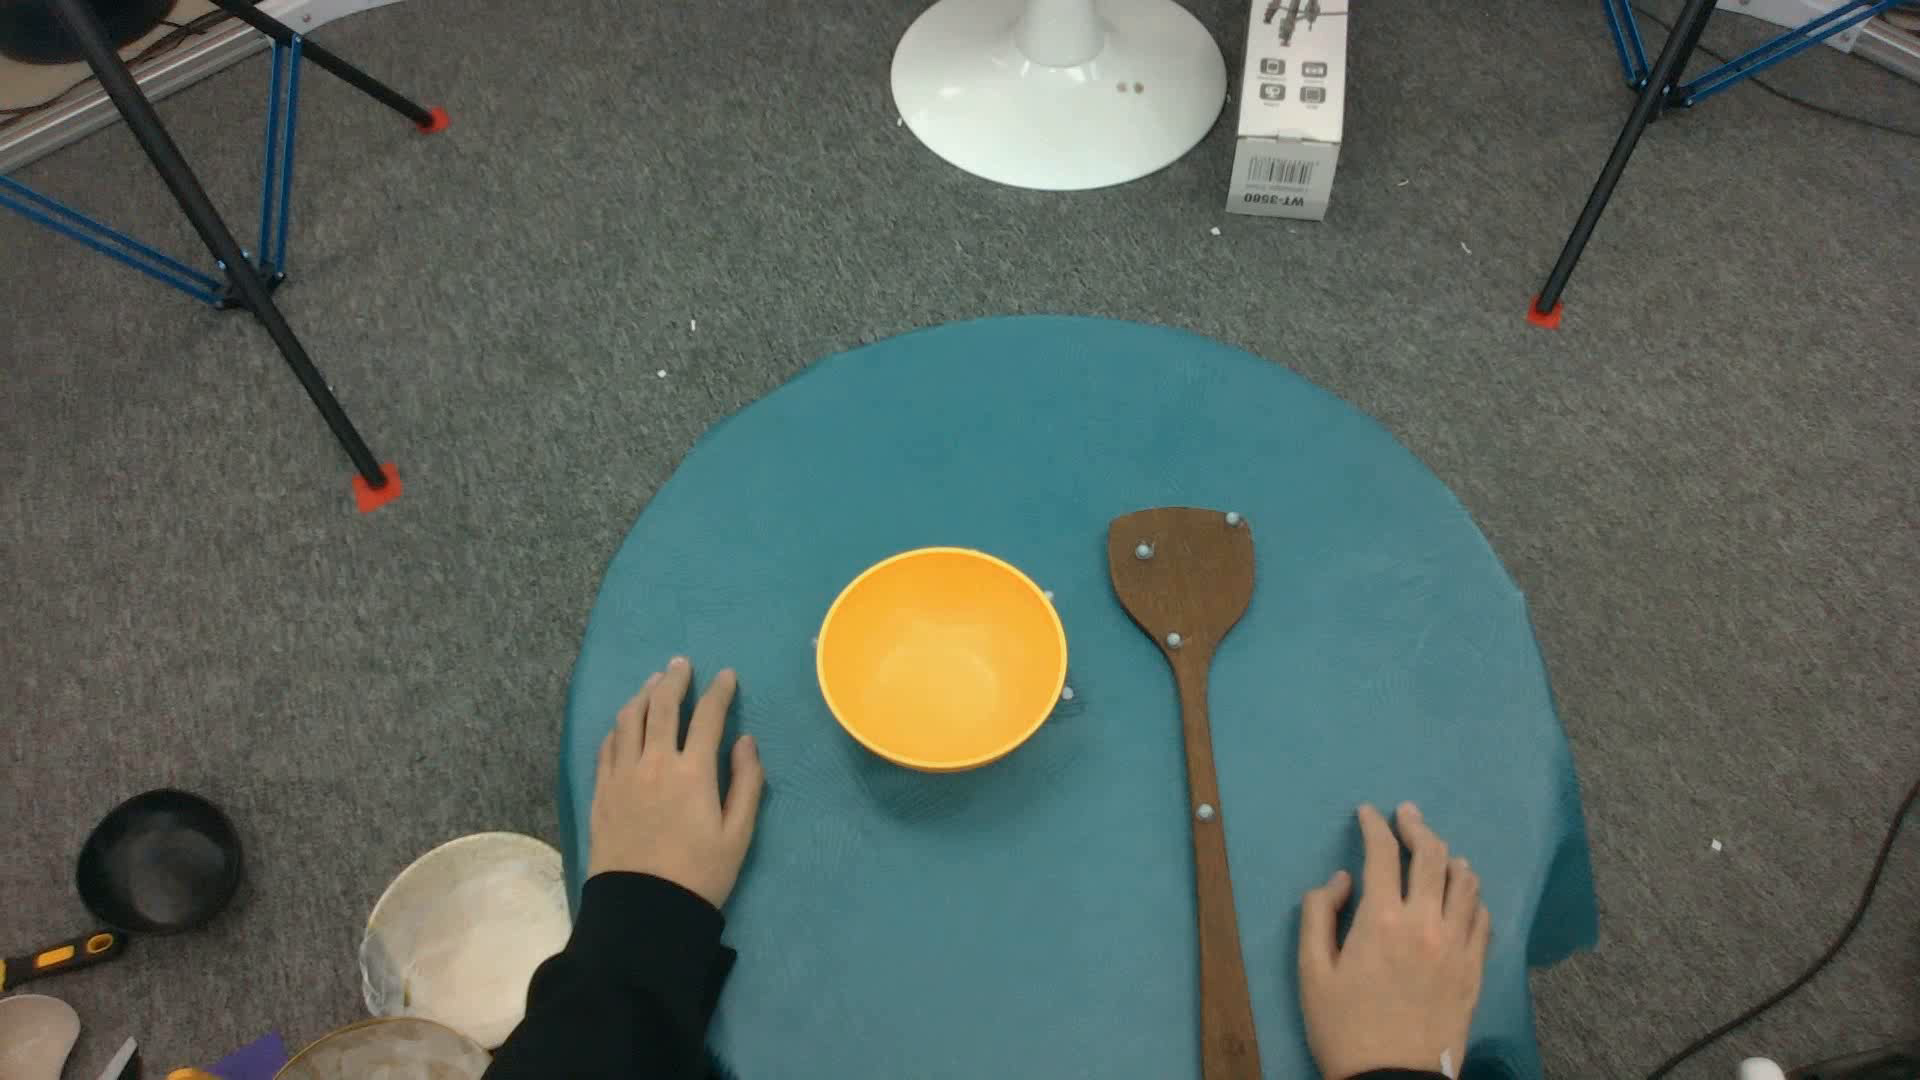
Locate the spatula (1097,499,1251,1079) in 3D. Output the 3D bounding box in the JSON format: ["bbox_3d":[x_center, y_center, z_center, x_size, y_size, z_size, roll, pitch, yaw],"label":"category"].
[{"bbox_3d":[0.135,0.136,0.799,0.096,0.016,0.387,0,56,0],"label":"spatula"}]

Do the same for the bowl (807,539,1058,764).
[{"bbox_3d":[-0.014,0.075,0.814,0.145,0.060,0.146,-1,57,2],"label":"bowl"}]
